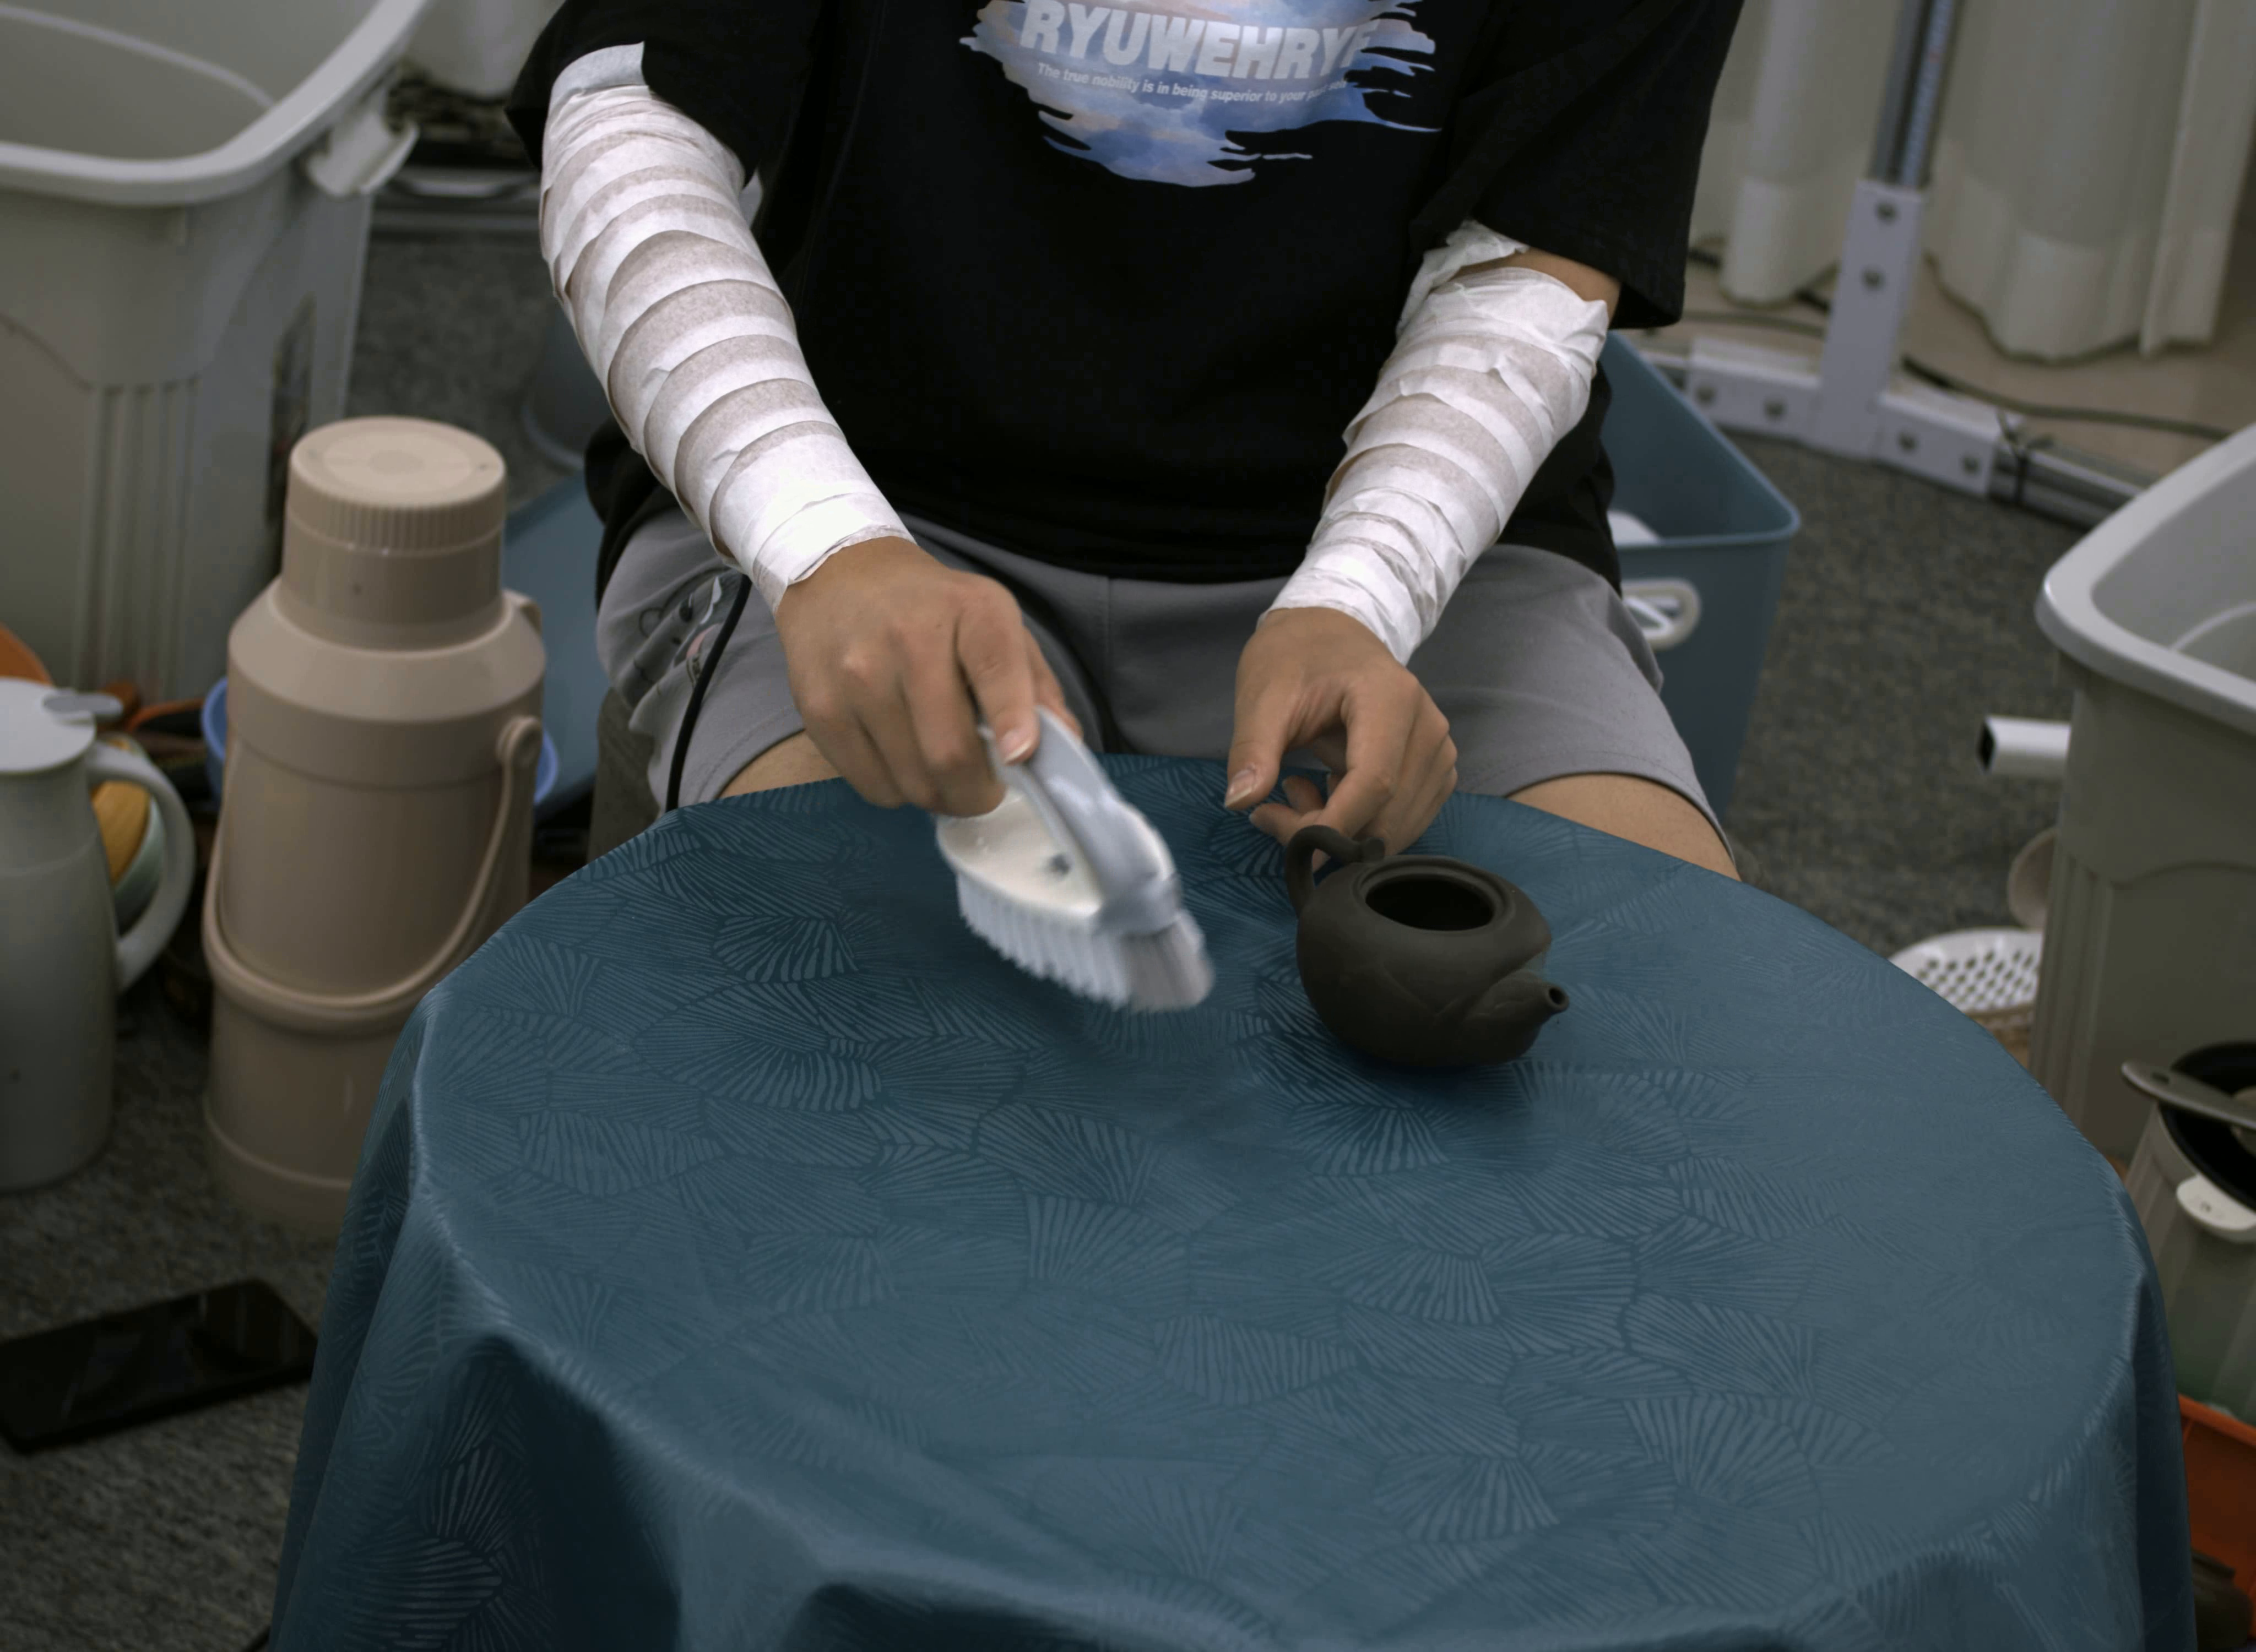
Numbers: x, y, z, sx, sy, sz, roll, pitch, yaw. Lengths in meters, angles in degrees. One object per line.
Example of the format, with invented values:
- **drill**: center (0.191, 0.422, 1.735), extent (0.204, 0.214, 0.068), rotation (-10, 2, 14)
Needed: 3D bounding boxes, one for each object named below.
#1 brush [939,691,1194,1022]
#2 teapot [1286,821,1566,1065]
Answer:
- **brush**: center (-0.024, 0.005, 1.858), extent (0.061, 0.094, 0.177), rotation (-26, 24, -10)
- **teapot**: center (0.104, 0.046, 1.910), extent (0.092, 0.064, 0.155), rotation (-12, 33, -34)
